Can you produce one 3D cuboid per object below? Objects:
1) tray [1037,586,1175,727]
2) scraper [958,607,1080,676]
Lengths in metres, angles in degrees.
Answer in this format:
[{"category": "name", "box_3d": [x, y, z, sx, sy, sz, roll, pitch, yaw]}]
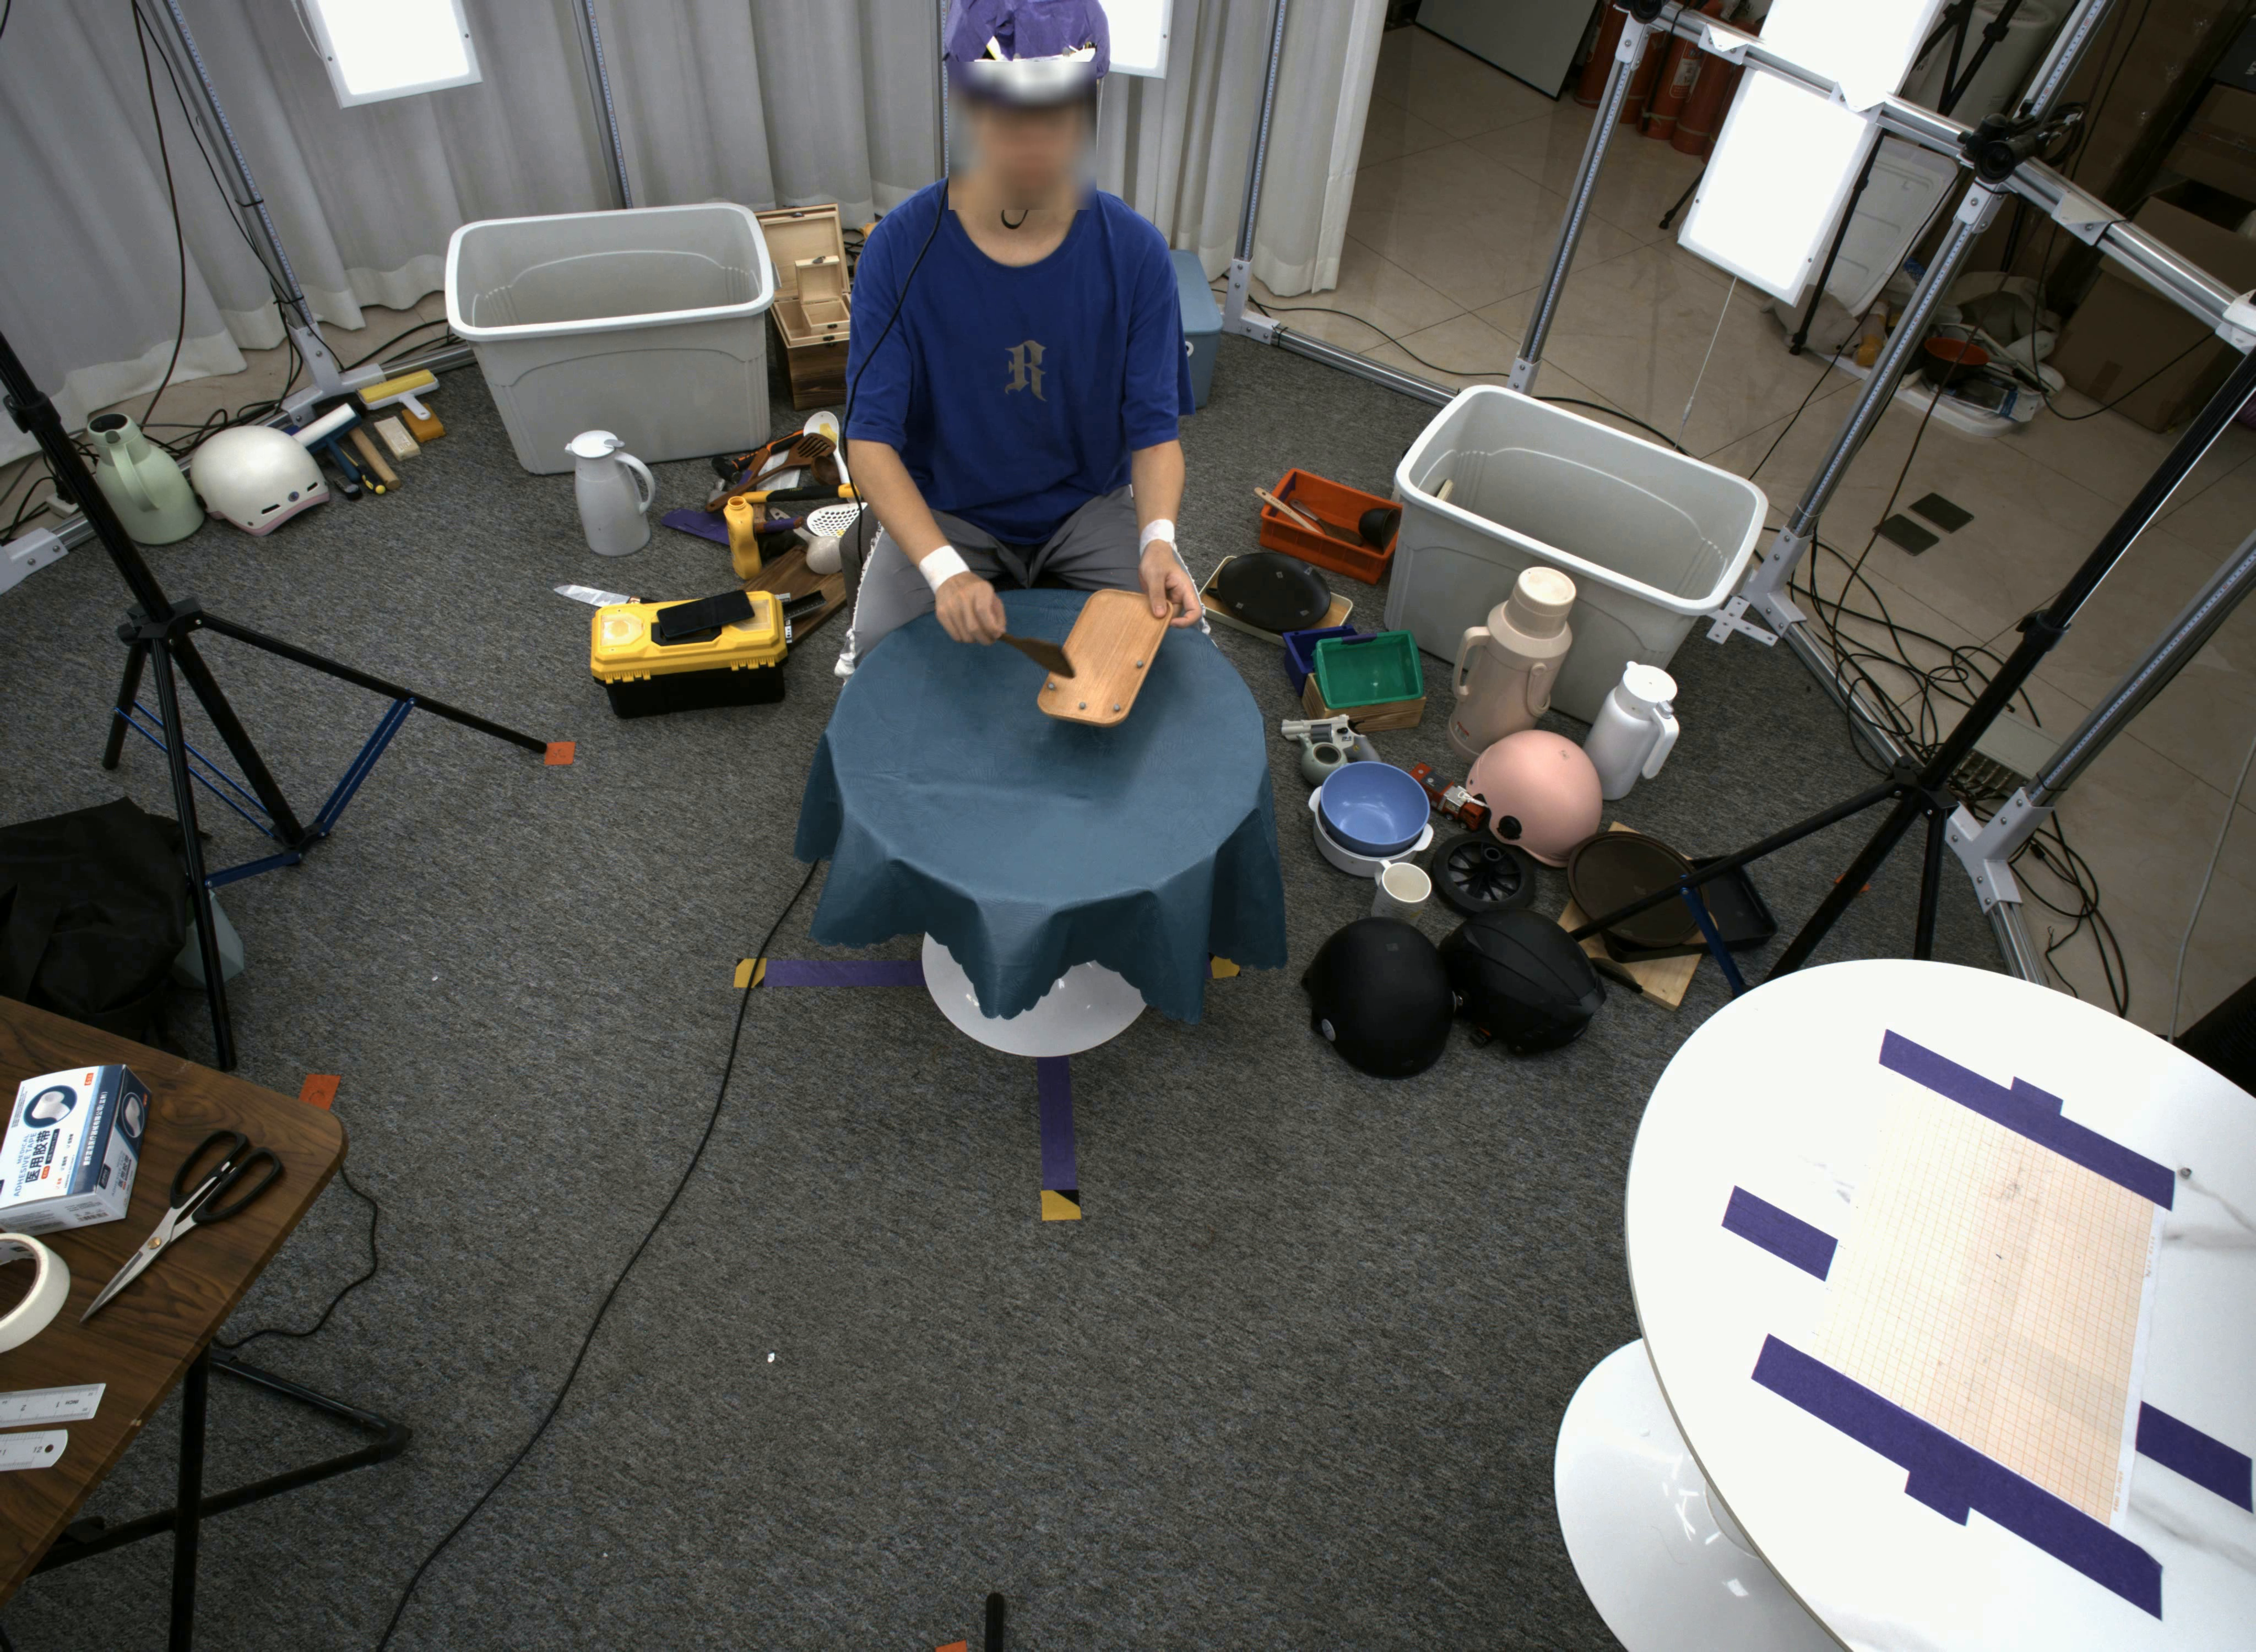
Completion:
[{"category": "tray", "box_3d": [-0.027, -0.235, 1.760, 0.131, 0.022, 0.255, 14, 54, 15]}, {"category": "scraper", "box_3d": [-0.153, -0.256, 1.742, 0.214, 0.074, 0.011, 27, 71, 32]}]
